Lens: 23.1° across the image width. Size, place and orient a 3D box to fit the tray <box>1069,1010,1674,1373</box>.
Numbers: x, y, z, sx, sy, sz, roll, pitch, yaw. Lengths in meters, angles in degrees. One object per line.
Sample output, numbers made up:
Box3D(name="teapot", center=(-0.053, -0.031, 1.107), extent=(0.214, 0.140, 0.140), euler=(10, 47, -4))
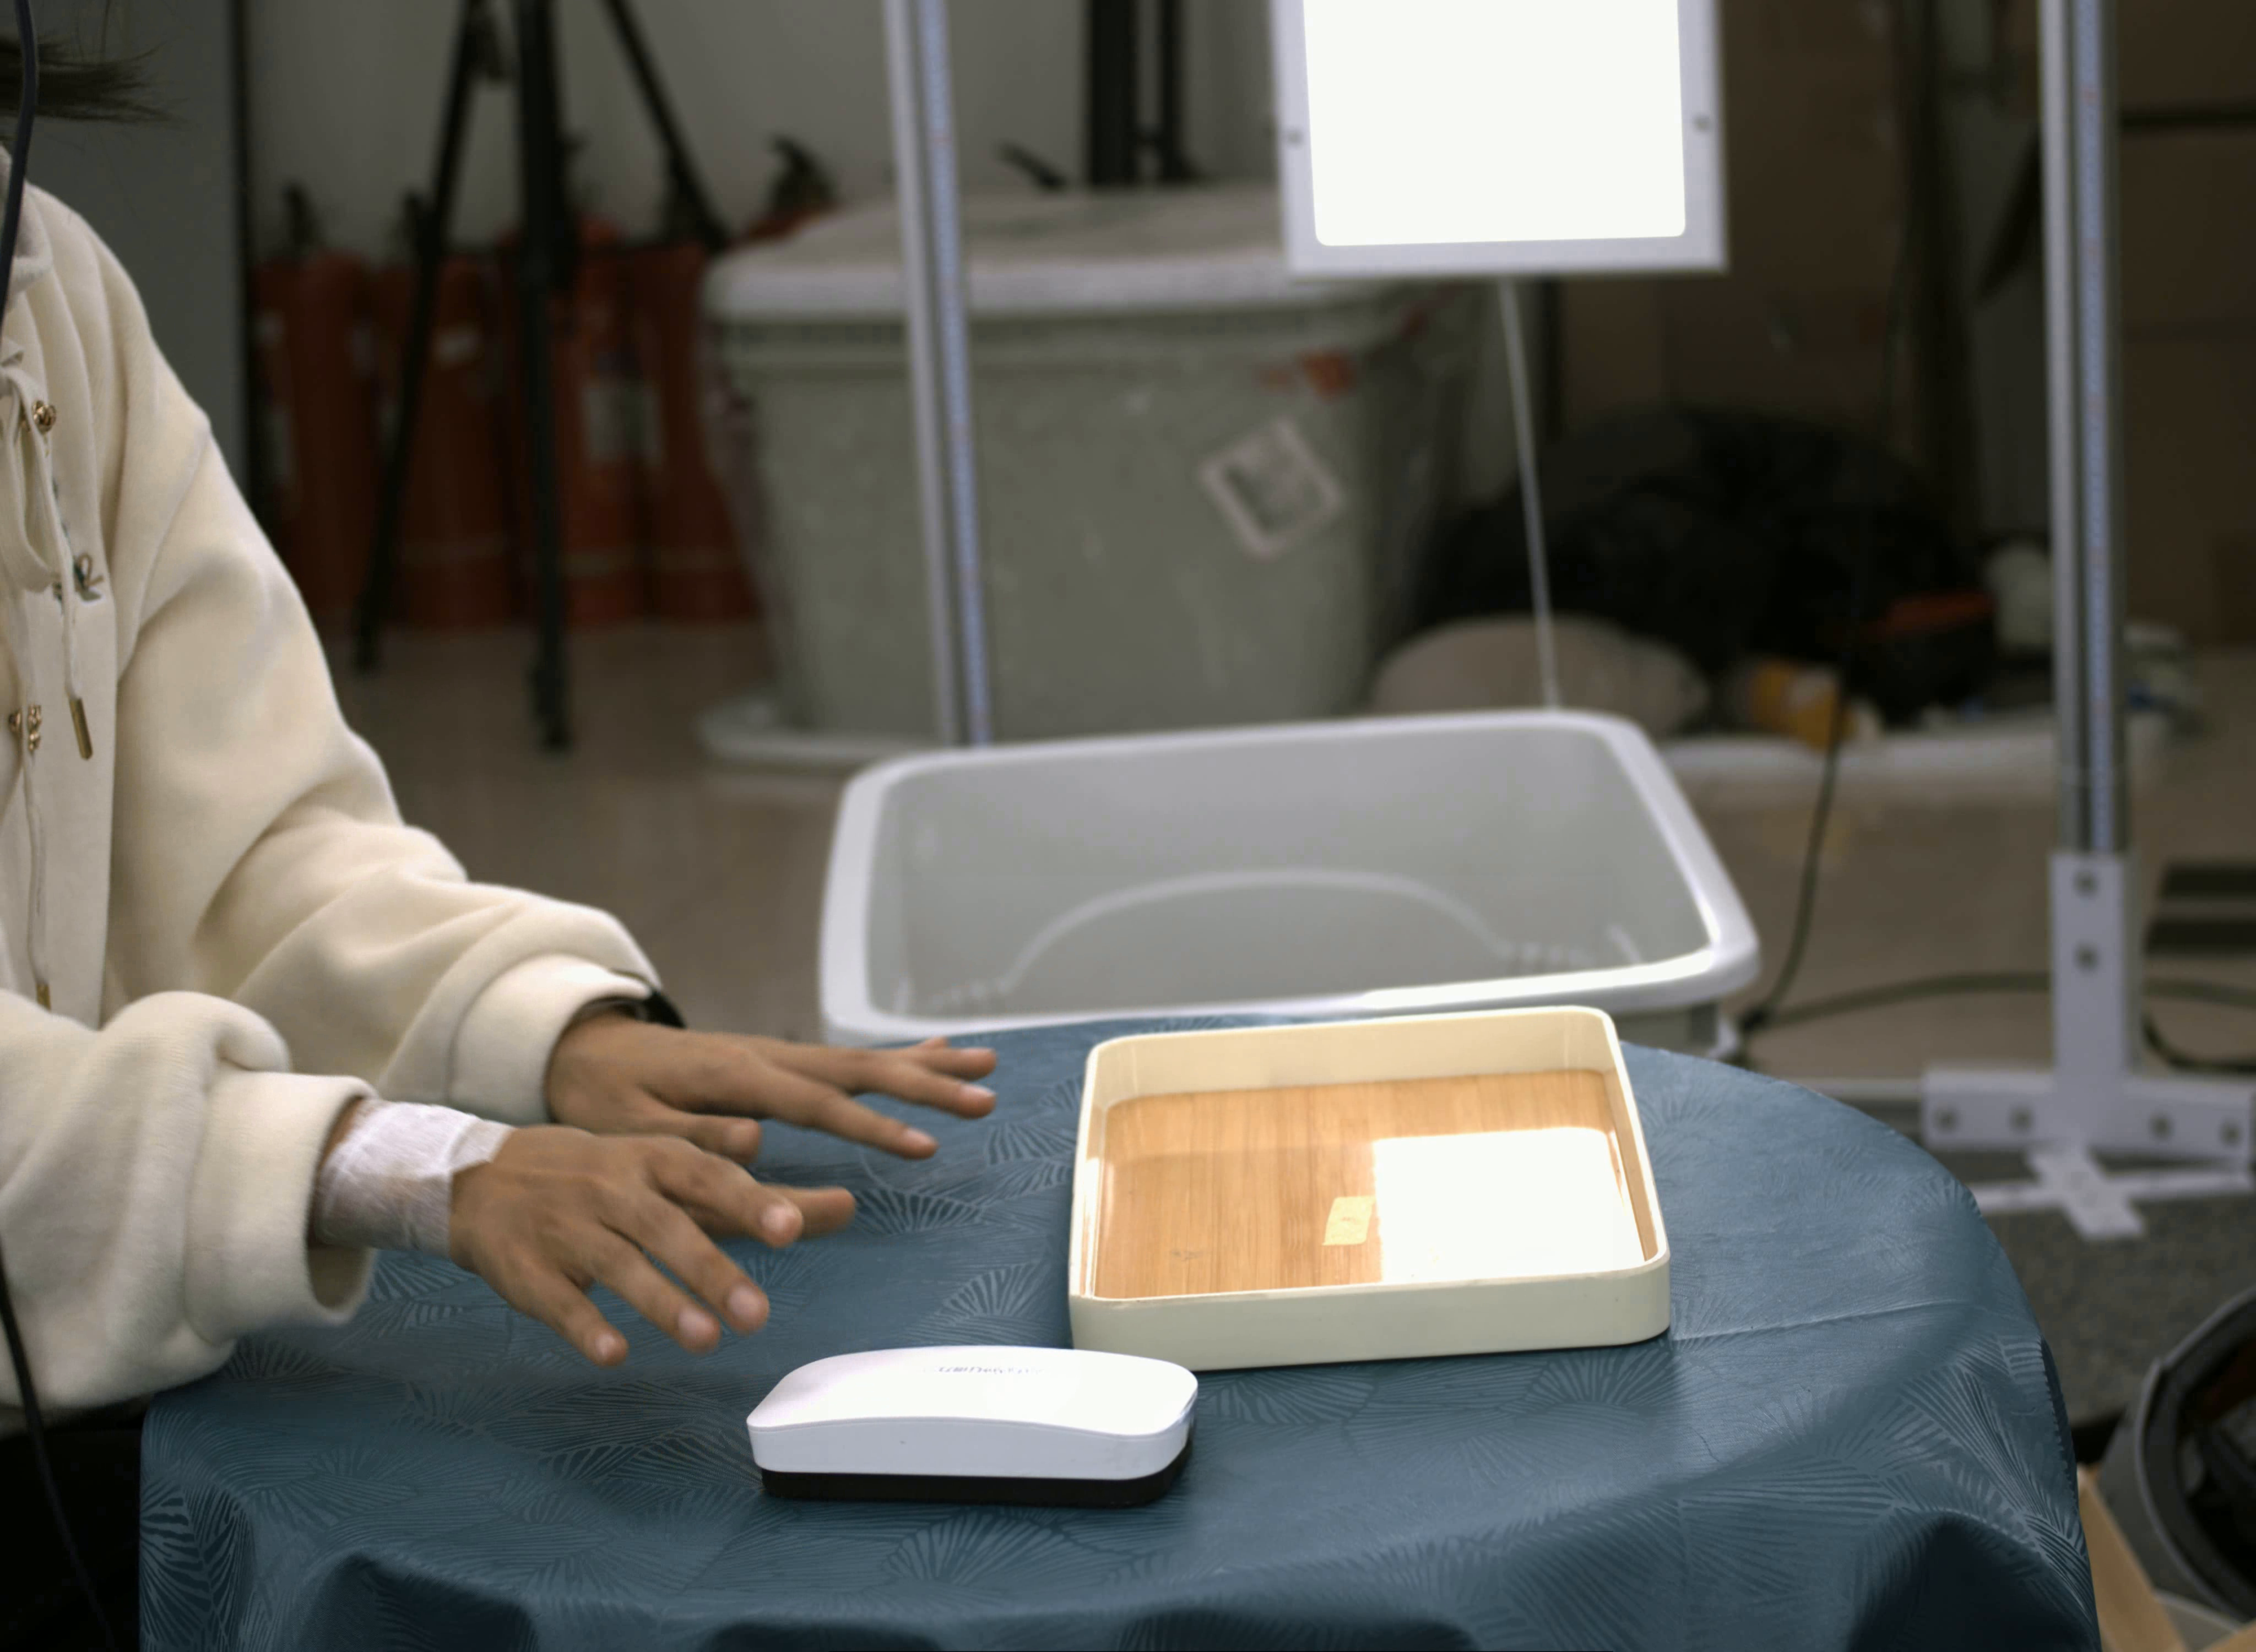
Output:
Box3D(name="tray", center=(0.080, 0.119, 1.844), extent=(0.192, 0.027, 0.299), euler=(-4, 14, 3))

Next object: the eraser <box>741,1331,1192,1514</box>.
Box3D(name="eraser", center=(-0.047, 0.178, 1.642), extent=(0.133, 0.034, 0.062), euler=(0, 15, 19))
